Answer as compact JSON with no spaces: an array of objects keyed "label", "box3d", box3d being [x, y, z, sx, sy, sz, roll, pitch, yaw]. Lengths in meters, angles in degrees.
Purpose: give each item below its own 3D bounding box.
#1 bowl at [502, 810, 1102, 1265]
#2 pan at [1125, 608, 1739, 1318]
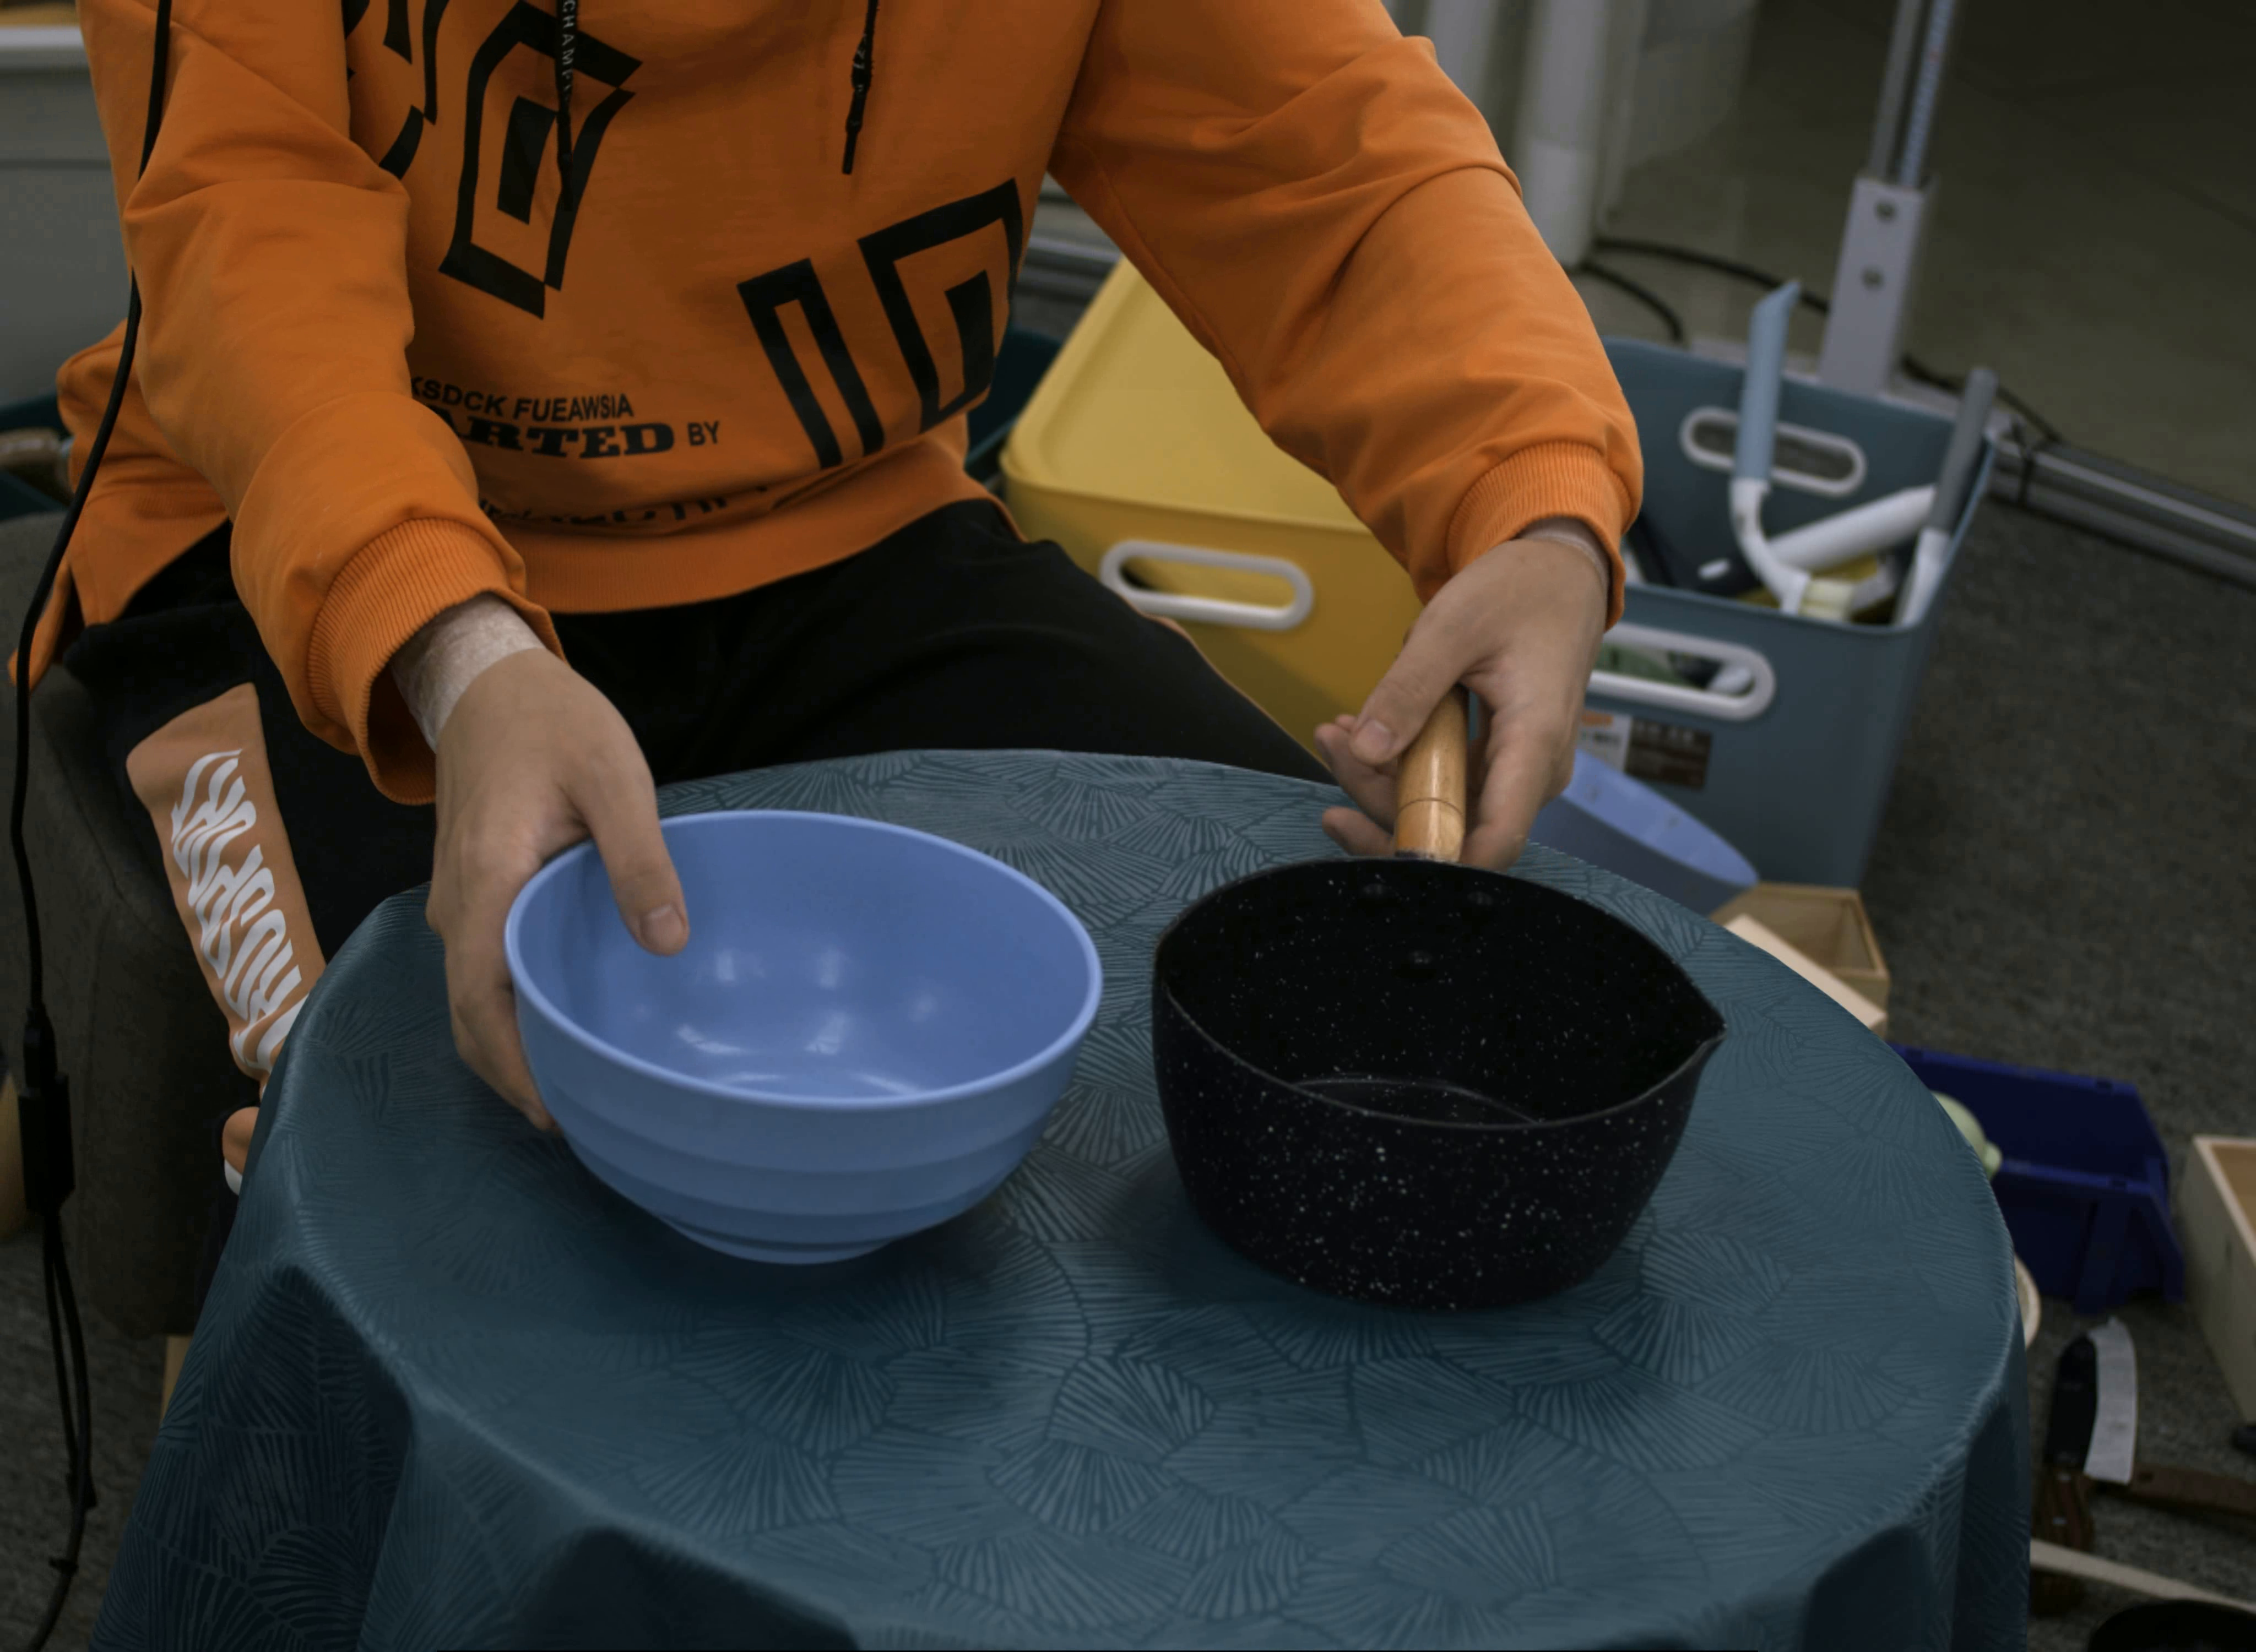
[{"label":"bowl","box3d":[-0.110,0.081,1.757,0.196,0.095,0.198,5,28,-3]},{"label":"pan","box3d":[0.102,0.044,1.864,0.207,0.108,0.345,5,28,0]}]
